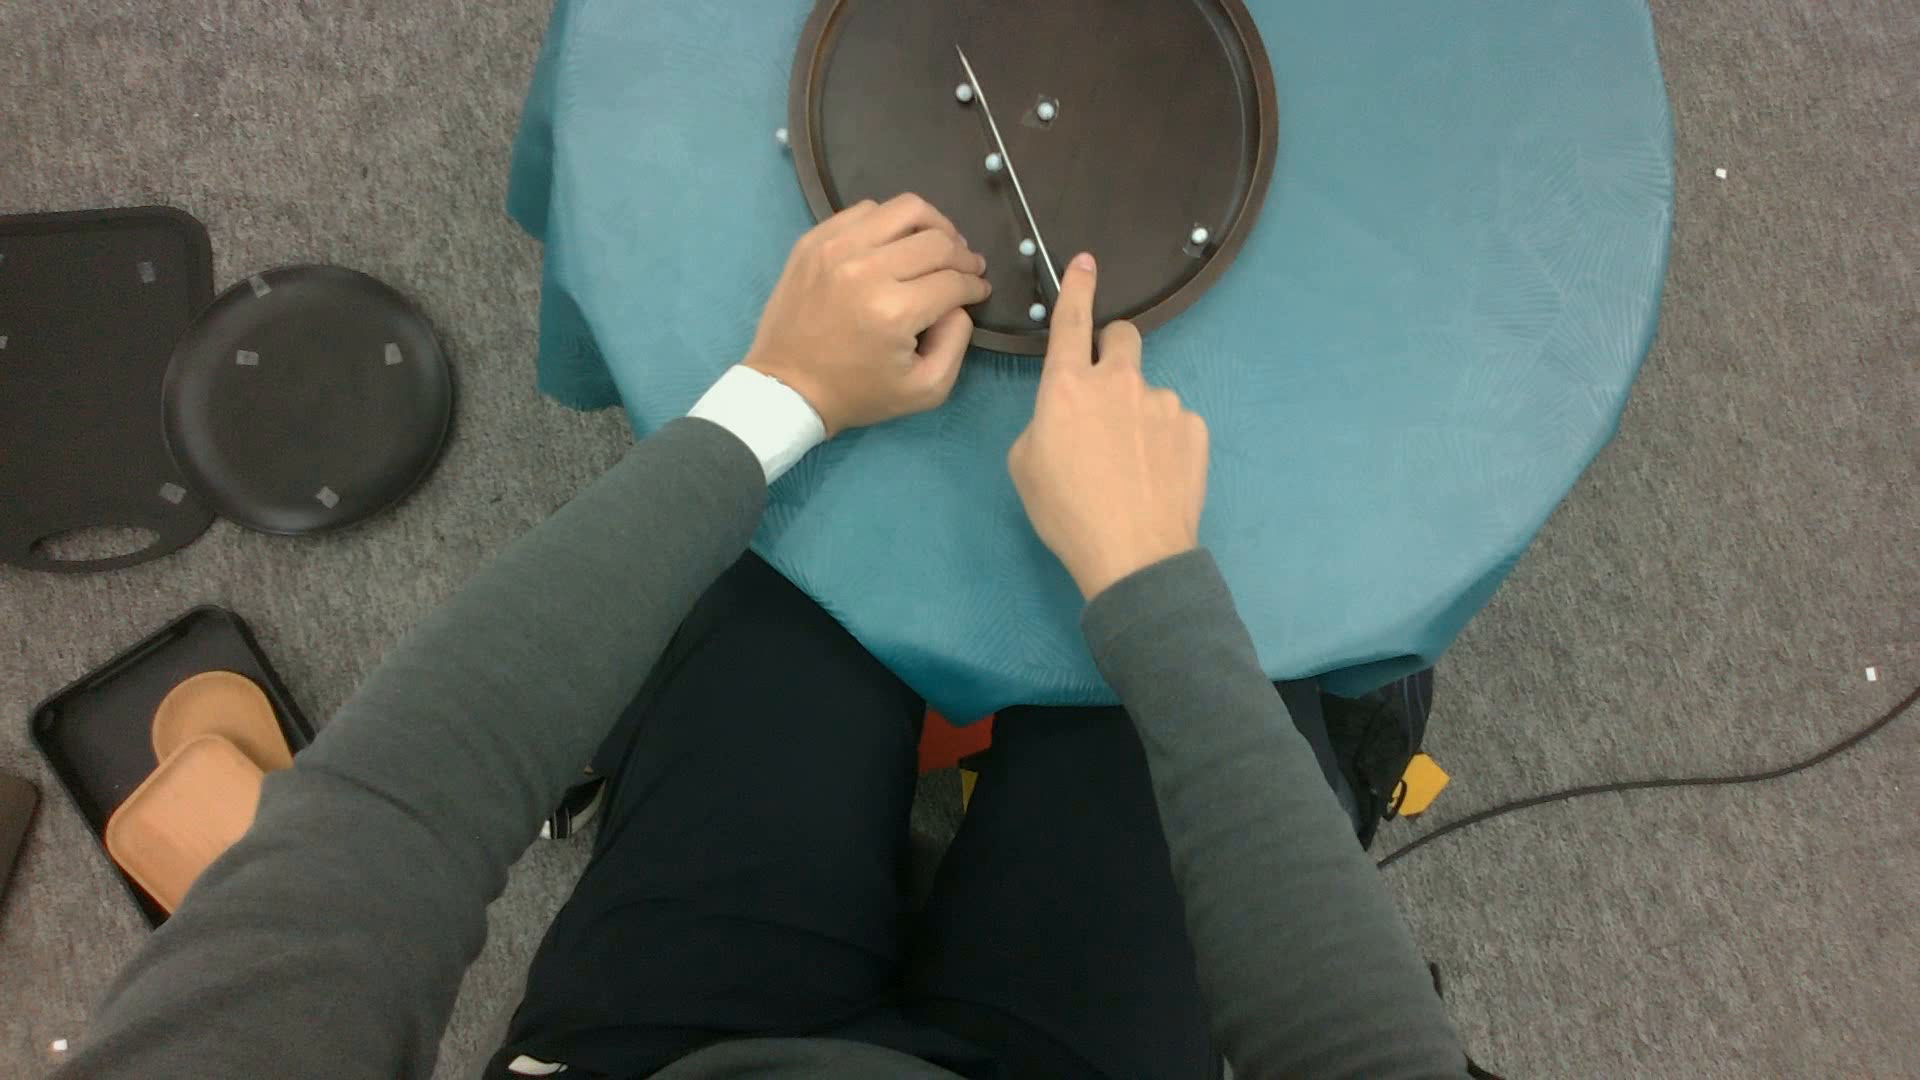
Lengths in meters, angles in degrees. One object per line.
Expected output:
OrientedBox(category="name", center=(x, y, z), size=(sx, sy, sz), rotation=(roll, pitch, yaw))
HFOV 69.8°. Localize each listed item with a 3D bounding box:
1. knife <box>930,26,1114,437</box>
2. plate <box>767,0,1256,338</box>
OrientedBox(category="knife", center=(0.026, -0.159, 0.681), size=(0.016, 0.024, 0.238), rotation=(-21, 76, -1))
OrientedBox(category="plate", center=(0.028, -0.226, 0.714), size=(0.255, 0.029, 0.255), rotation=(1, 81, -5))
